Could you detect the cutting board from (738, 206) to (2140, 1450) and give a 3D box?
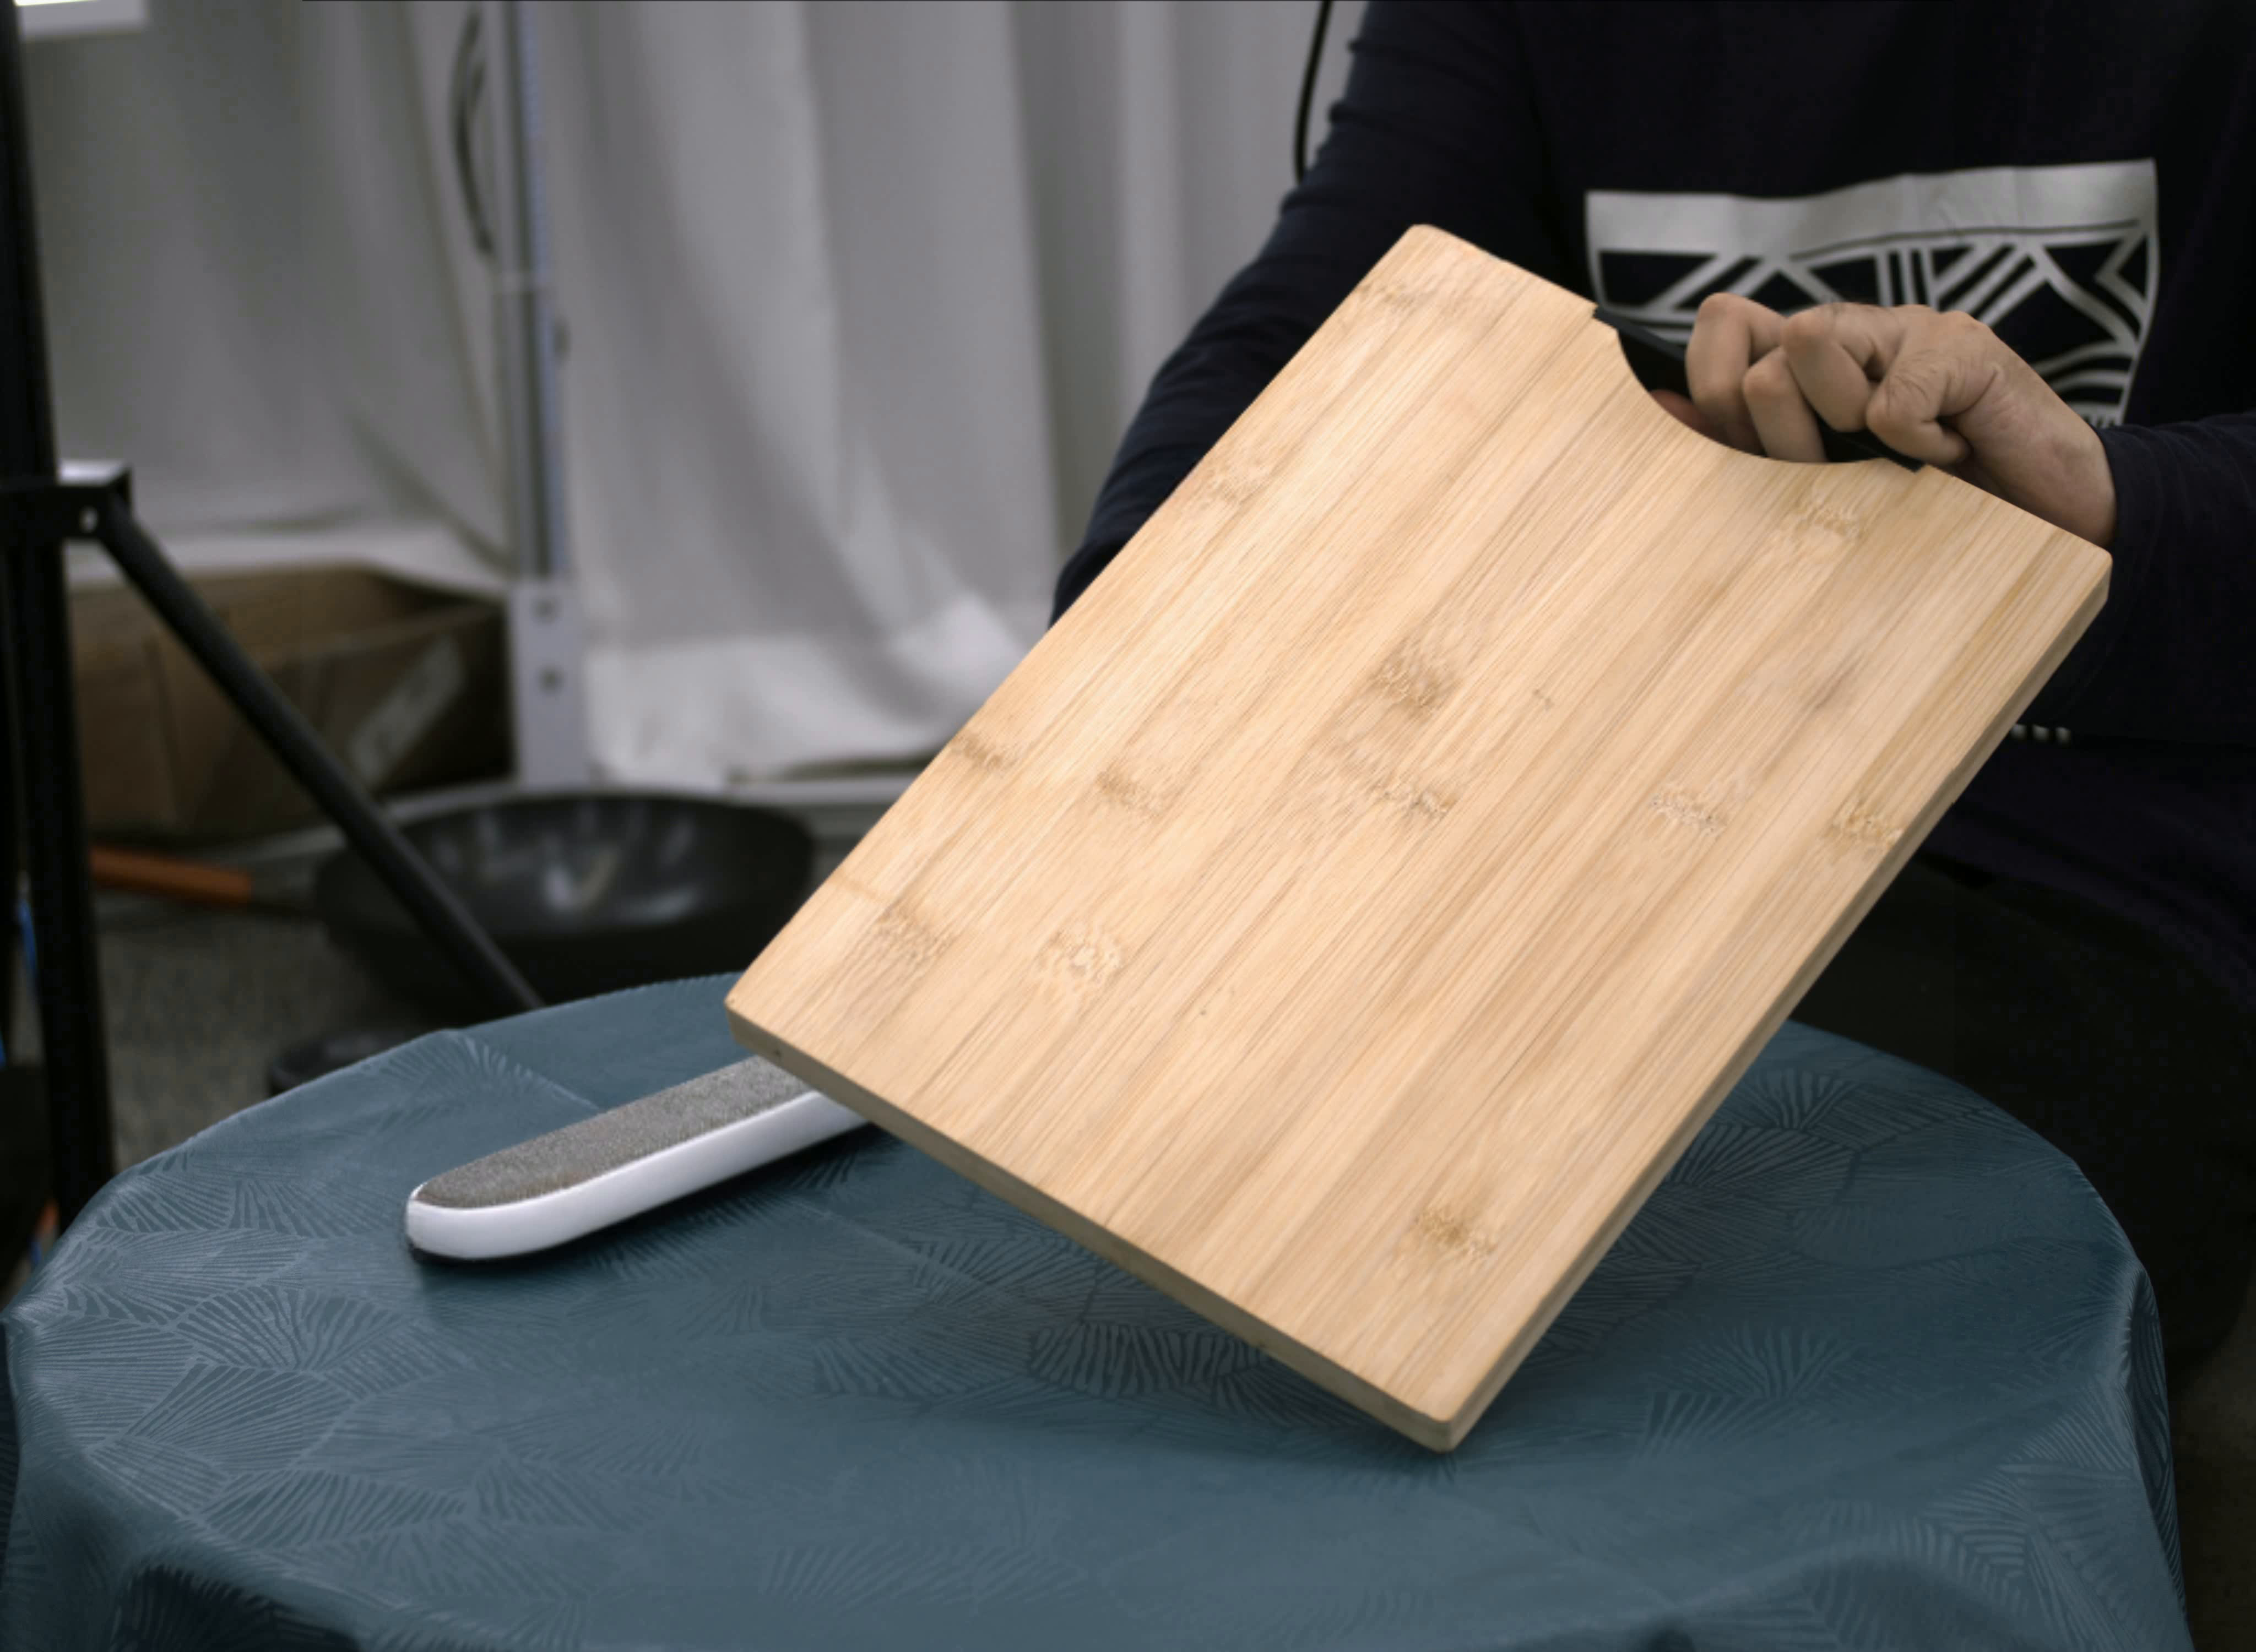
[{"bbox_3d":[0.089,-0.012,1.478,0.255,0.023,0.346,28,62,24],"label":"cutting board"}]

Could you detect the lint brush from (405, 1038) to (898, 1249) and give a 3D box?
[{"bbox_3d":[-0.096,0.078,1.623,0.061,0.021,0.302,-1,13,45],"label":"lint brush"}]
